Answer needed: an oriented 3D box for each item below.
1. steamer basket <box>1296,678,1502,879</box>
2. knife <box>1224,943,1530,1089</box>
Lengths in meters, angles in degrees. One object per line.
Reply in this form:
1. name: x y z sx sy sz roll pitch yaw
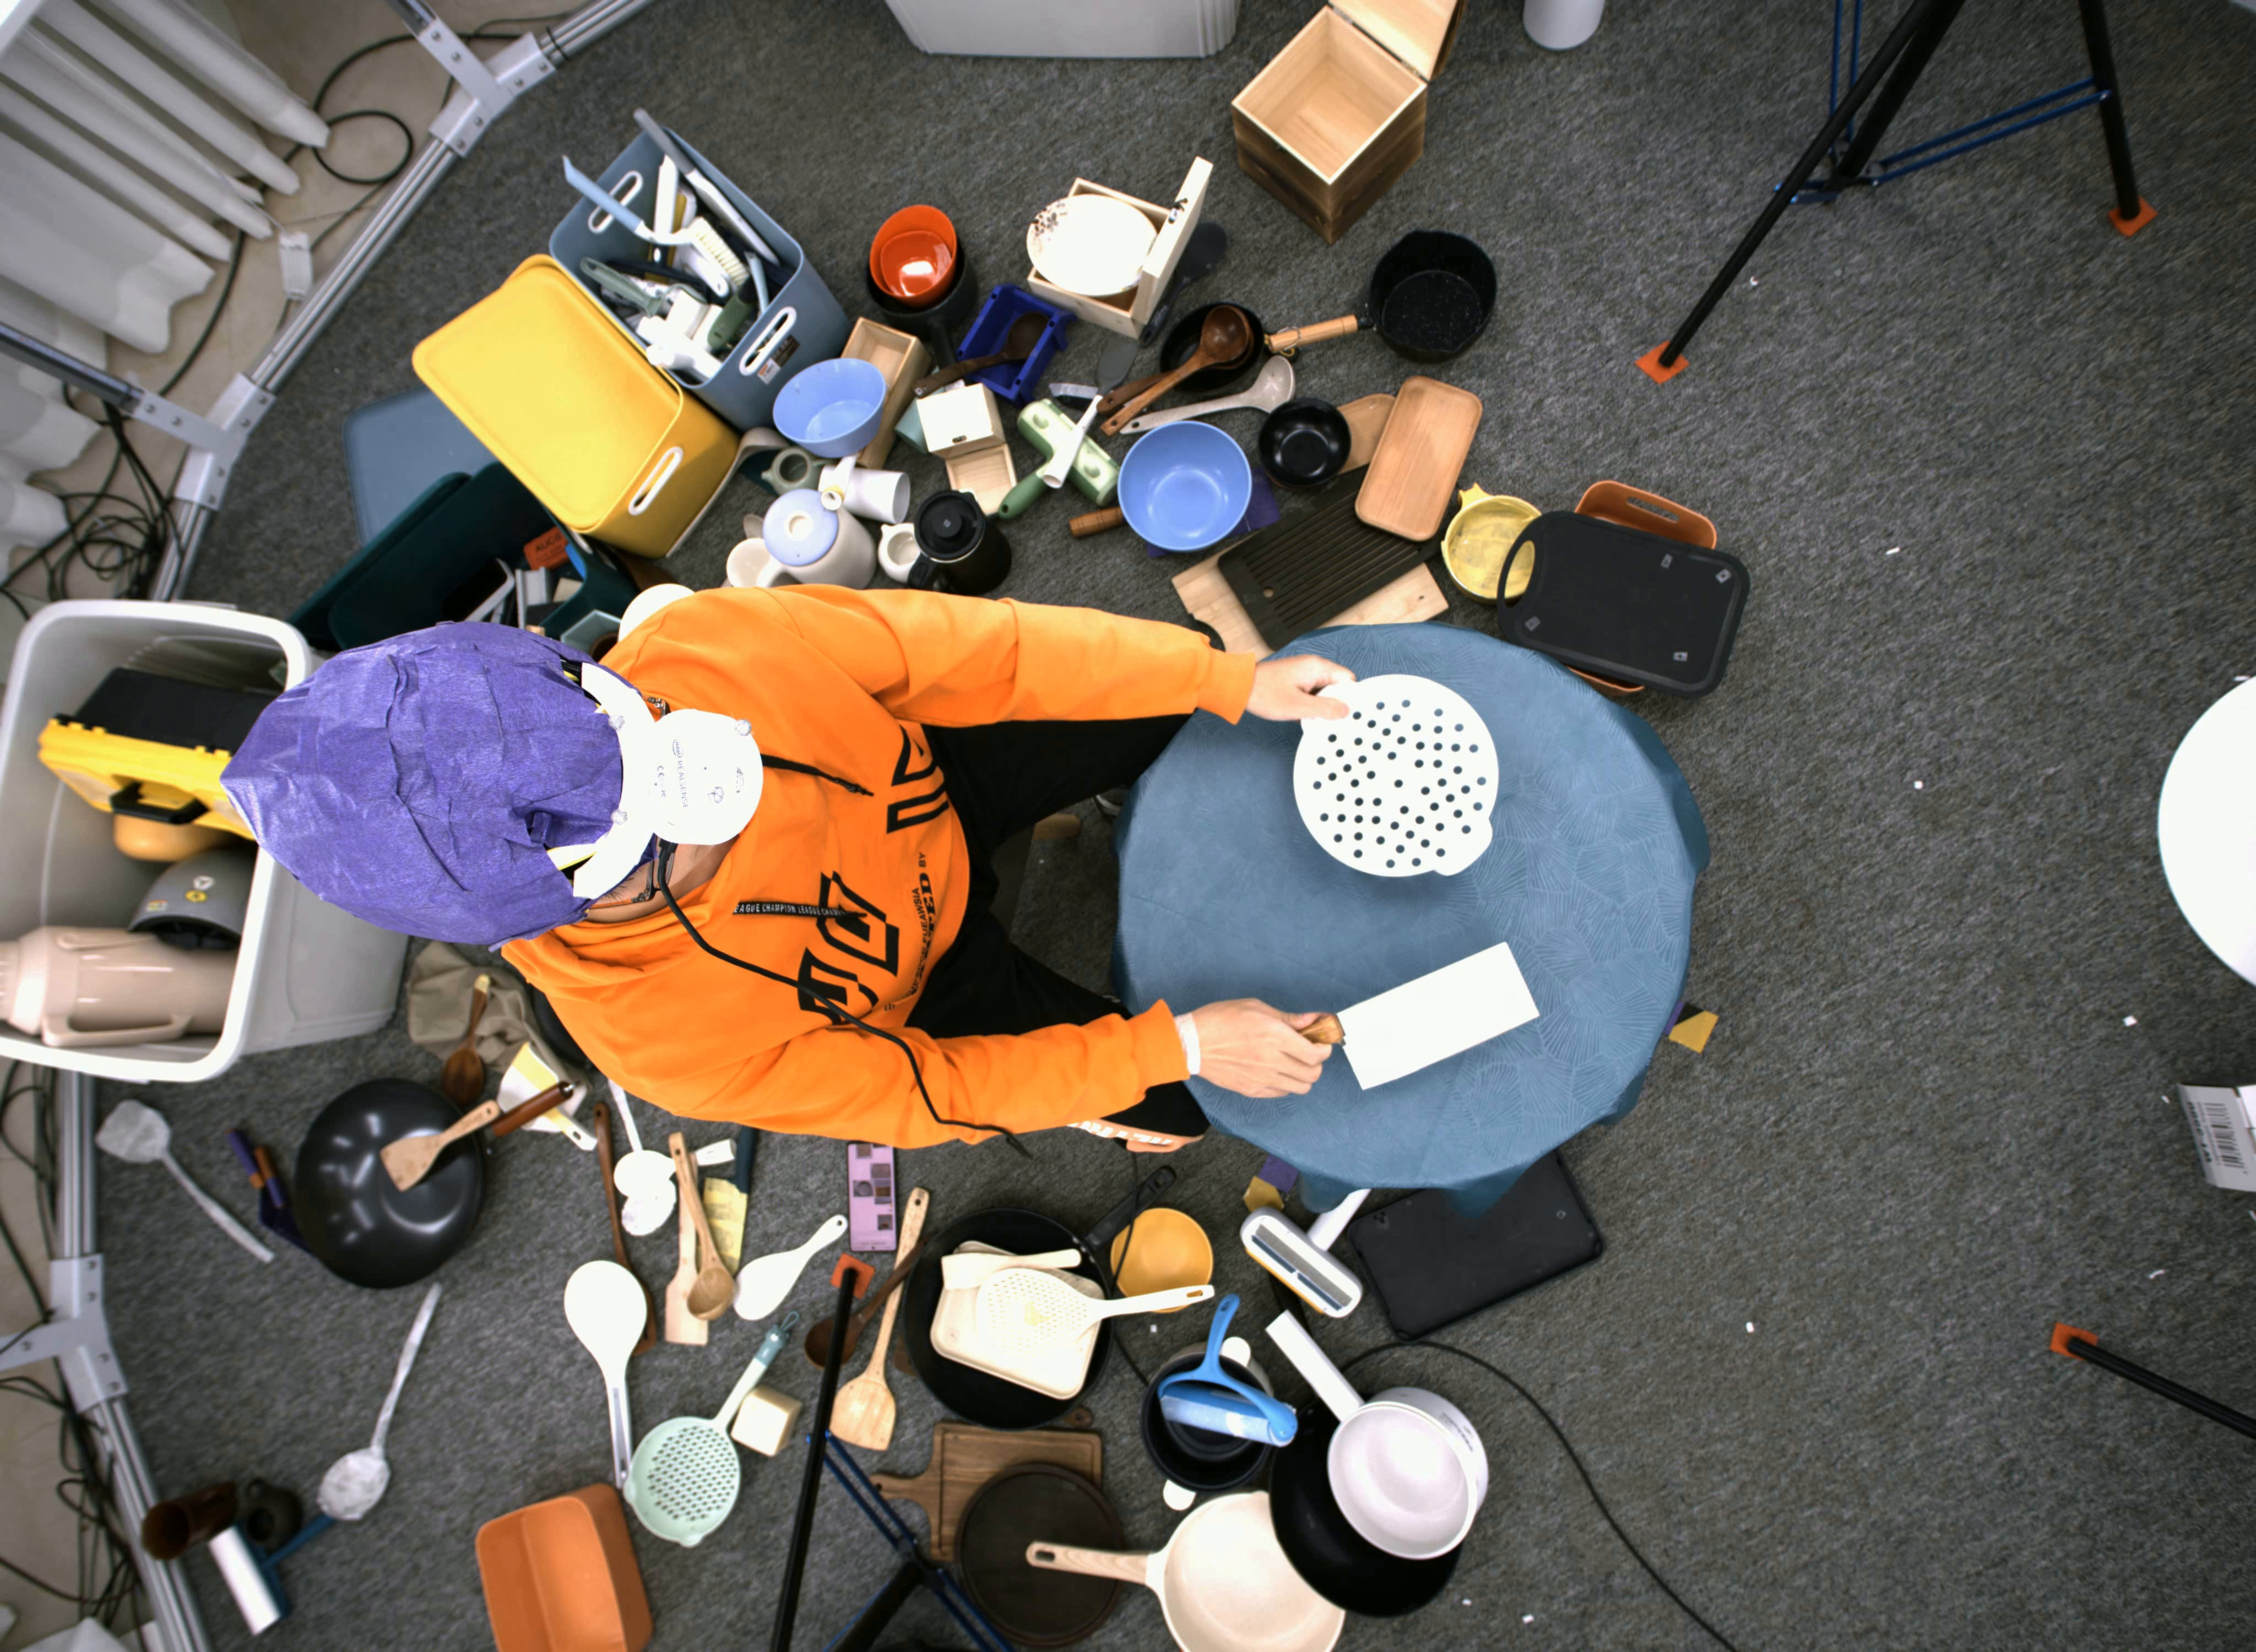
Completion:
1. steamer basket: 0.273 -0.046 1.385 0.203 0.069 0.229 -44 78 9
2. knife: 0.248 0.209 1.373 0.308 0.020 0.094 -25 108 14
